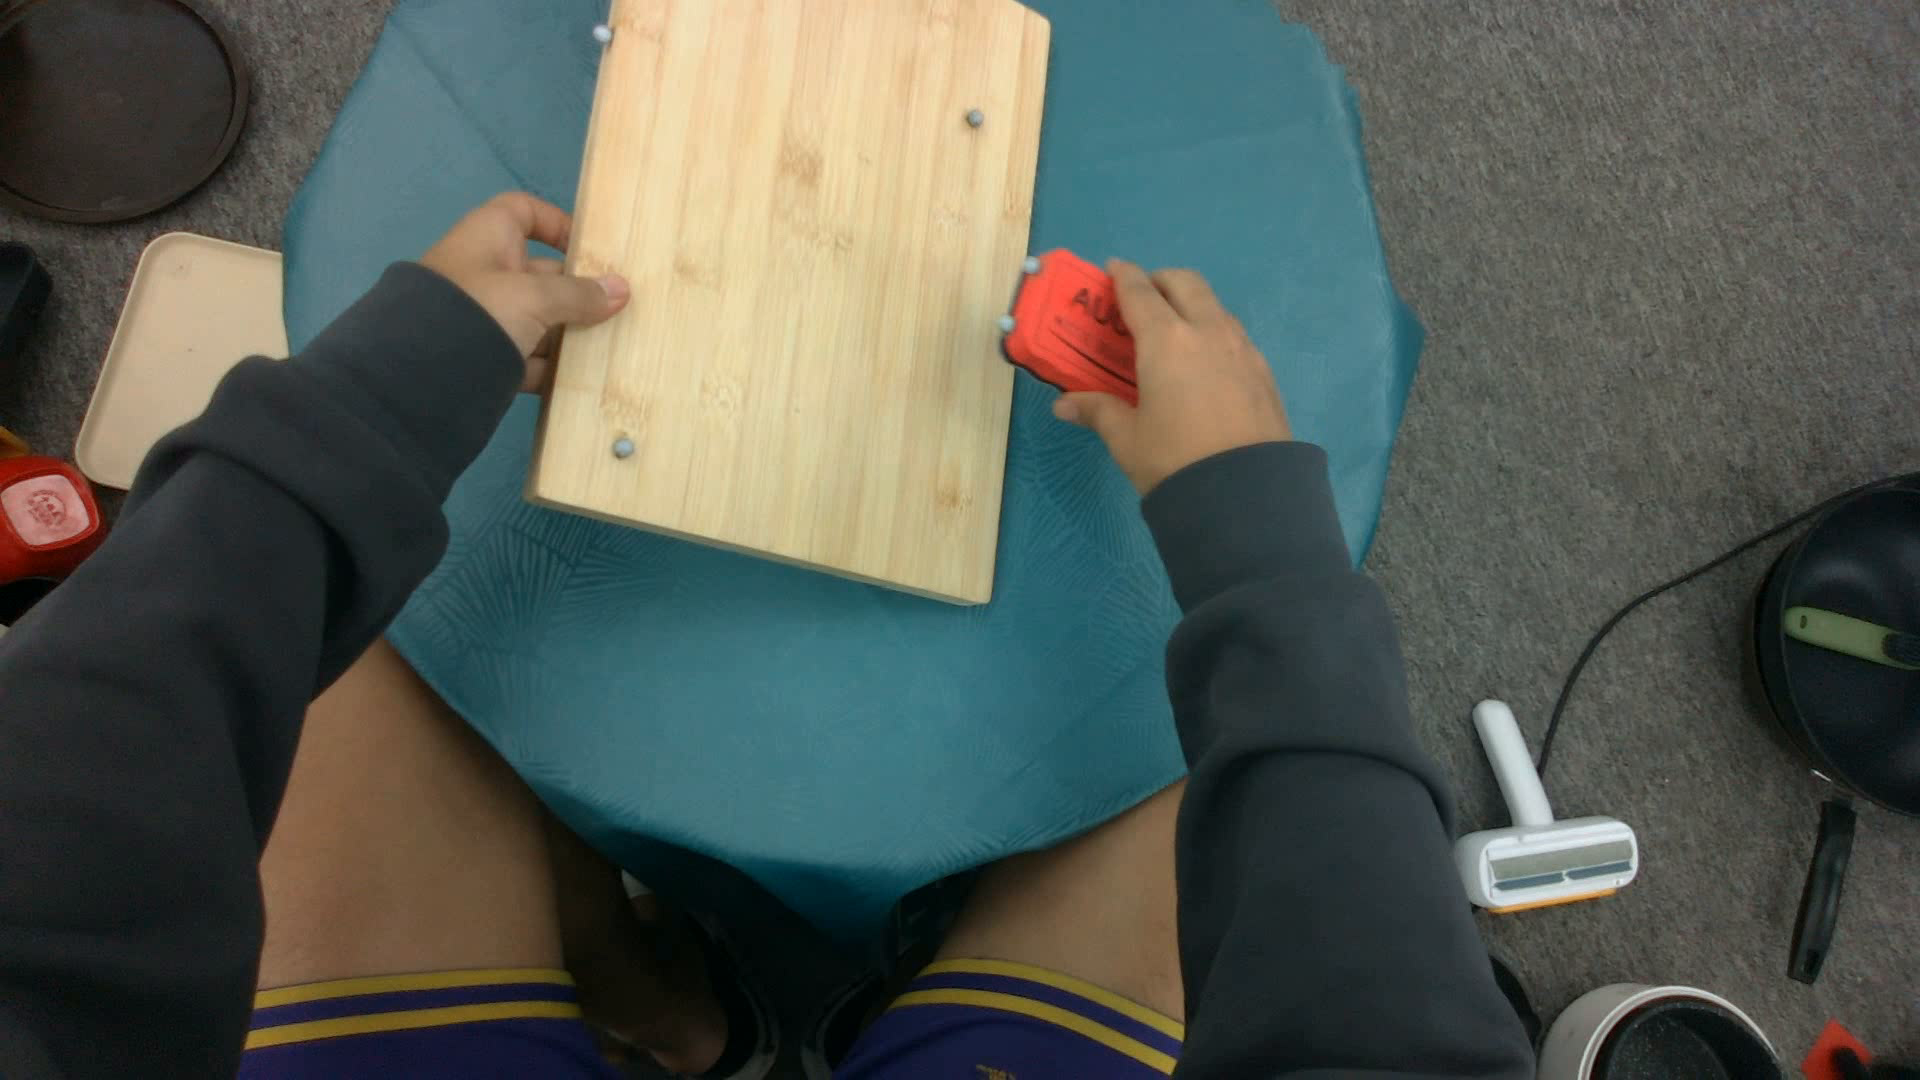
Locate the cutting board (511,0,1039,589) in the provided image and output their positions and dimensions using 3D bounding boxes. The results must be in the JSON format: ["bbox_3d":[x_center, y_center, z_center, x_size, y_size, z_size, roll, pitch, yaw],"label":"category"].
[{"bbox_3d":[-0.073,-0.166,0.685,0.251,0.023,0.349,14,74,-36],"label":"cutting board"}]

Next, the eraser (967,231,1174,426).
[{"bbox_3d":[0.055,-0.101,0.667,0.108,0.023,0.059,24,70,-30],"label":"eraser"}]
